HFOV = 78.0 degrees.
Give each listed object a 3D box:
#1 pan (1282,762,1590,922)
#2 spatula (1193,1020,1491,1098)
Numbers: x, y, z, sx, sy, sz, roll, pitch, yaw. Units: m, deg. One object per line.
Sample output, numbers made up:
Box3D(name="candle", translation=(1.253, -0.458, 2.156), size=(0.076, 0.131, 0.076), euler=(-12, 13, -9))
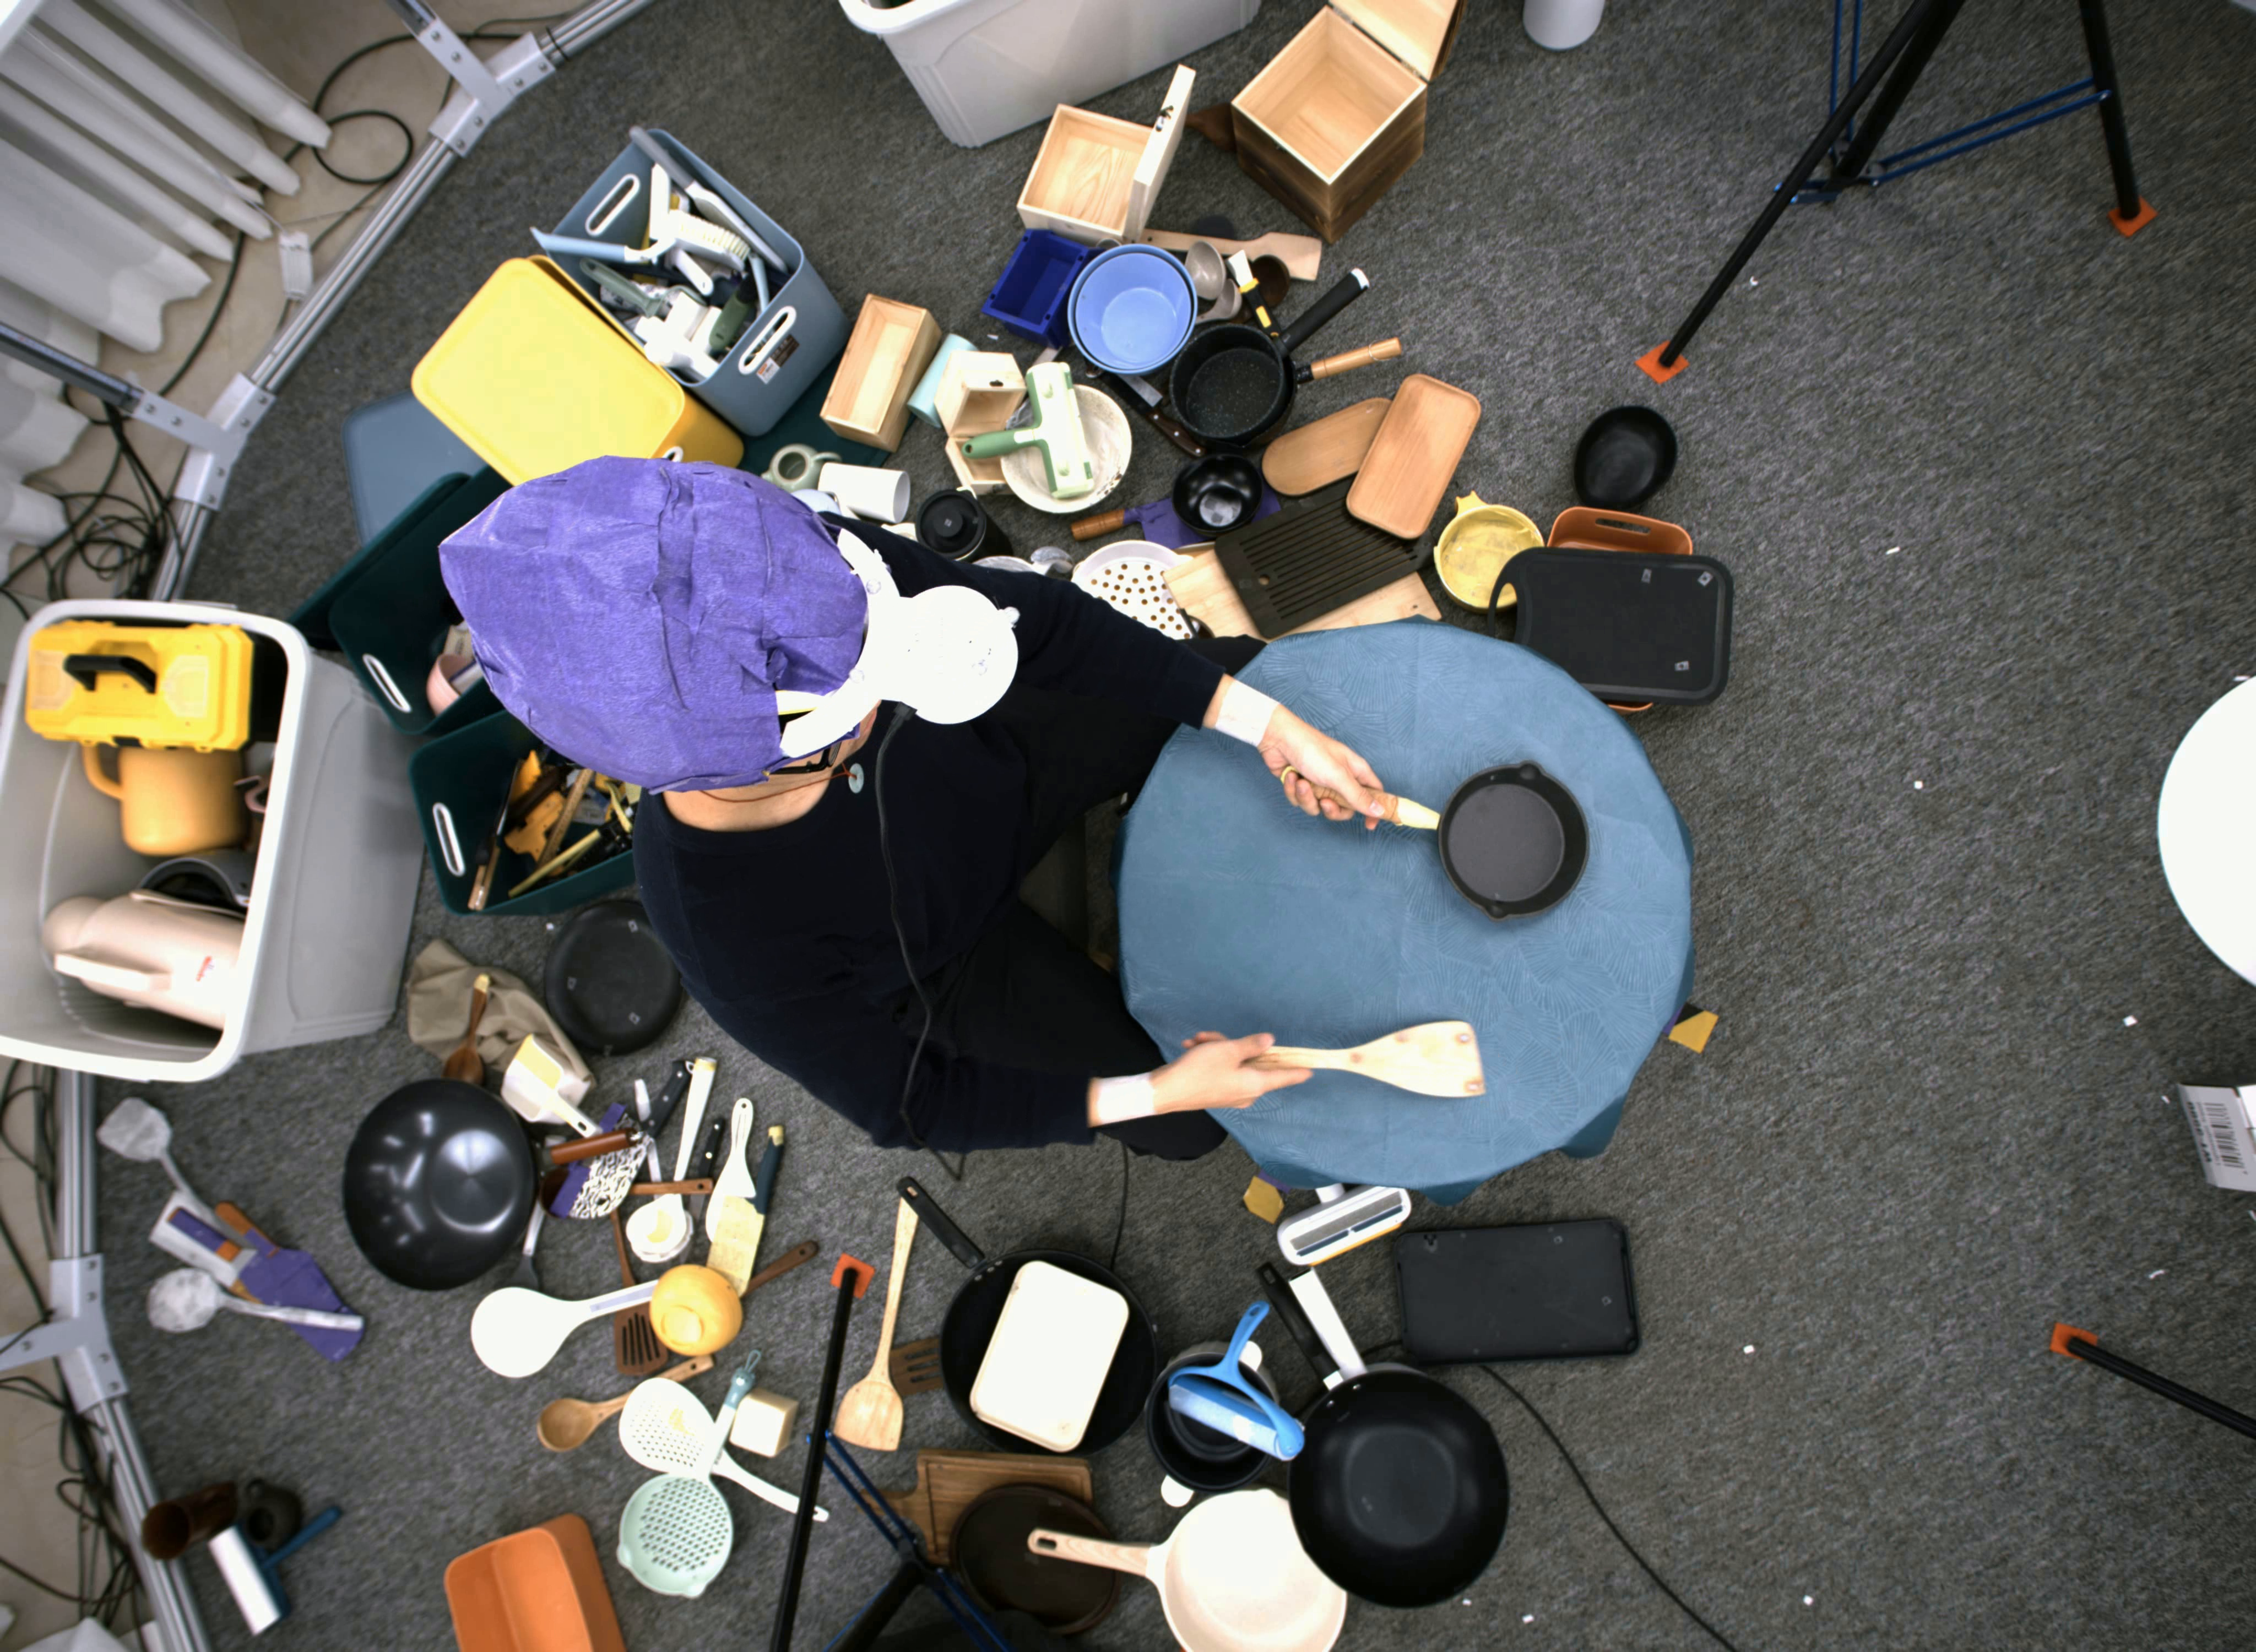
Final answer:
Box3D(name="pan", translation=(0.312, -0.010, 1.406), size=(0.324, 0.049, 0.168), euler=(17, 88, -1))
Box3D(name="spatula", translation=(0.219, 0.230, 1.386), size=(0.327, 0.017, 0.079), euler=(4, 80, -19))
